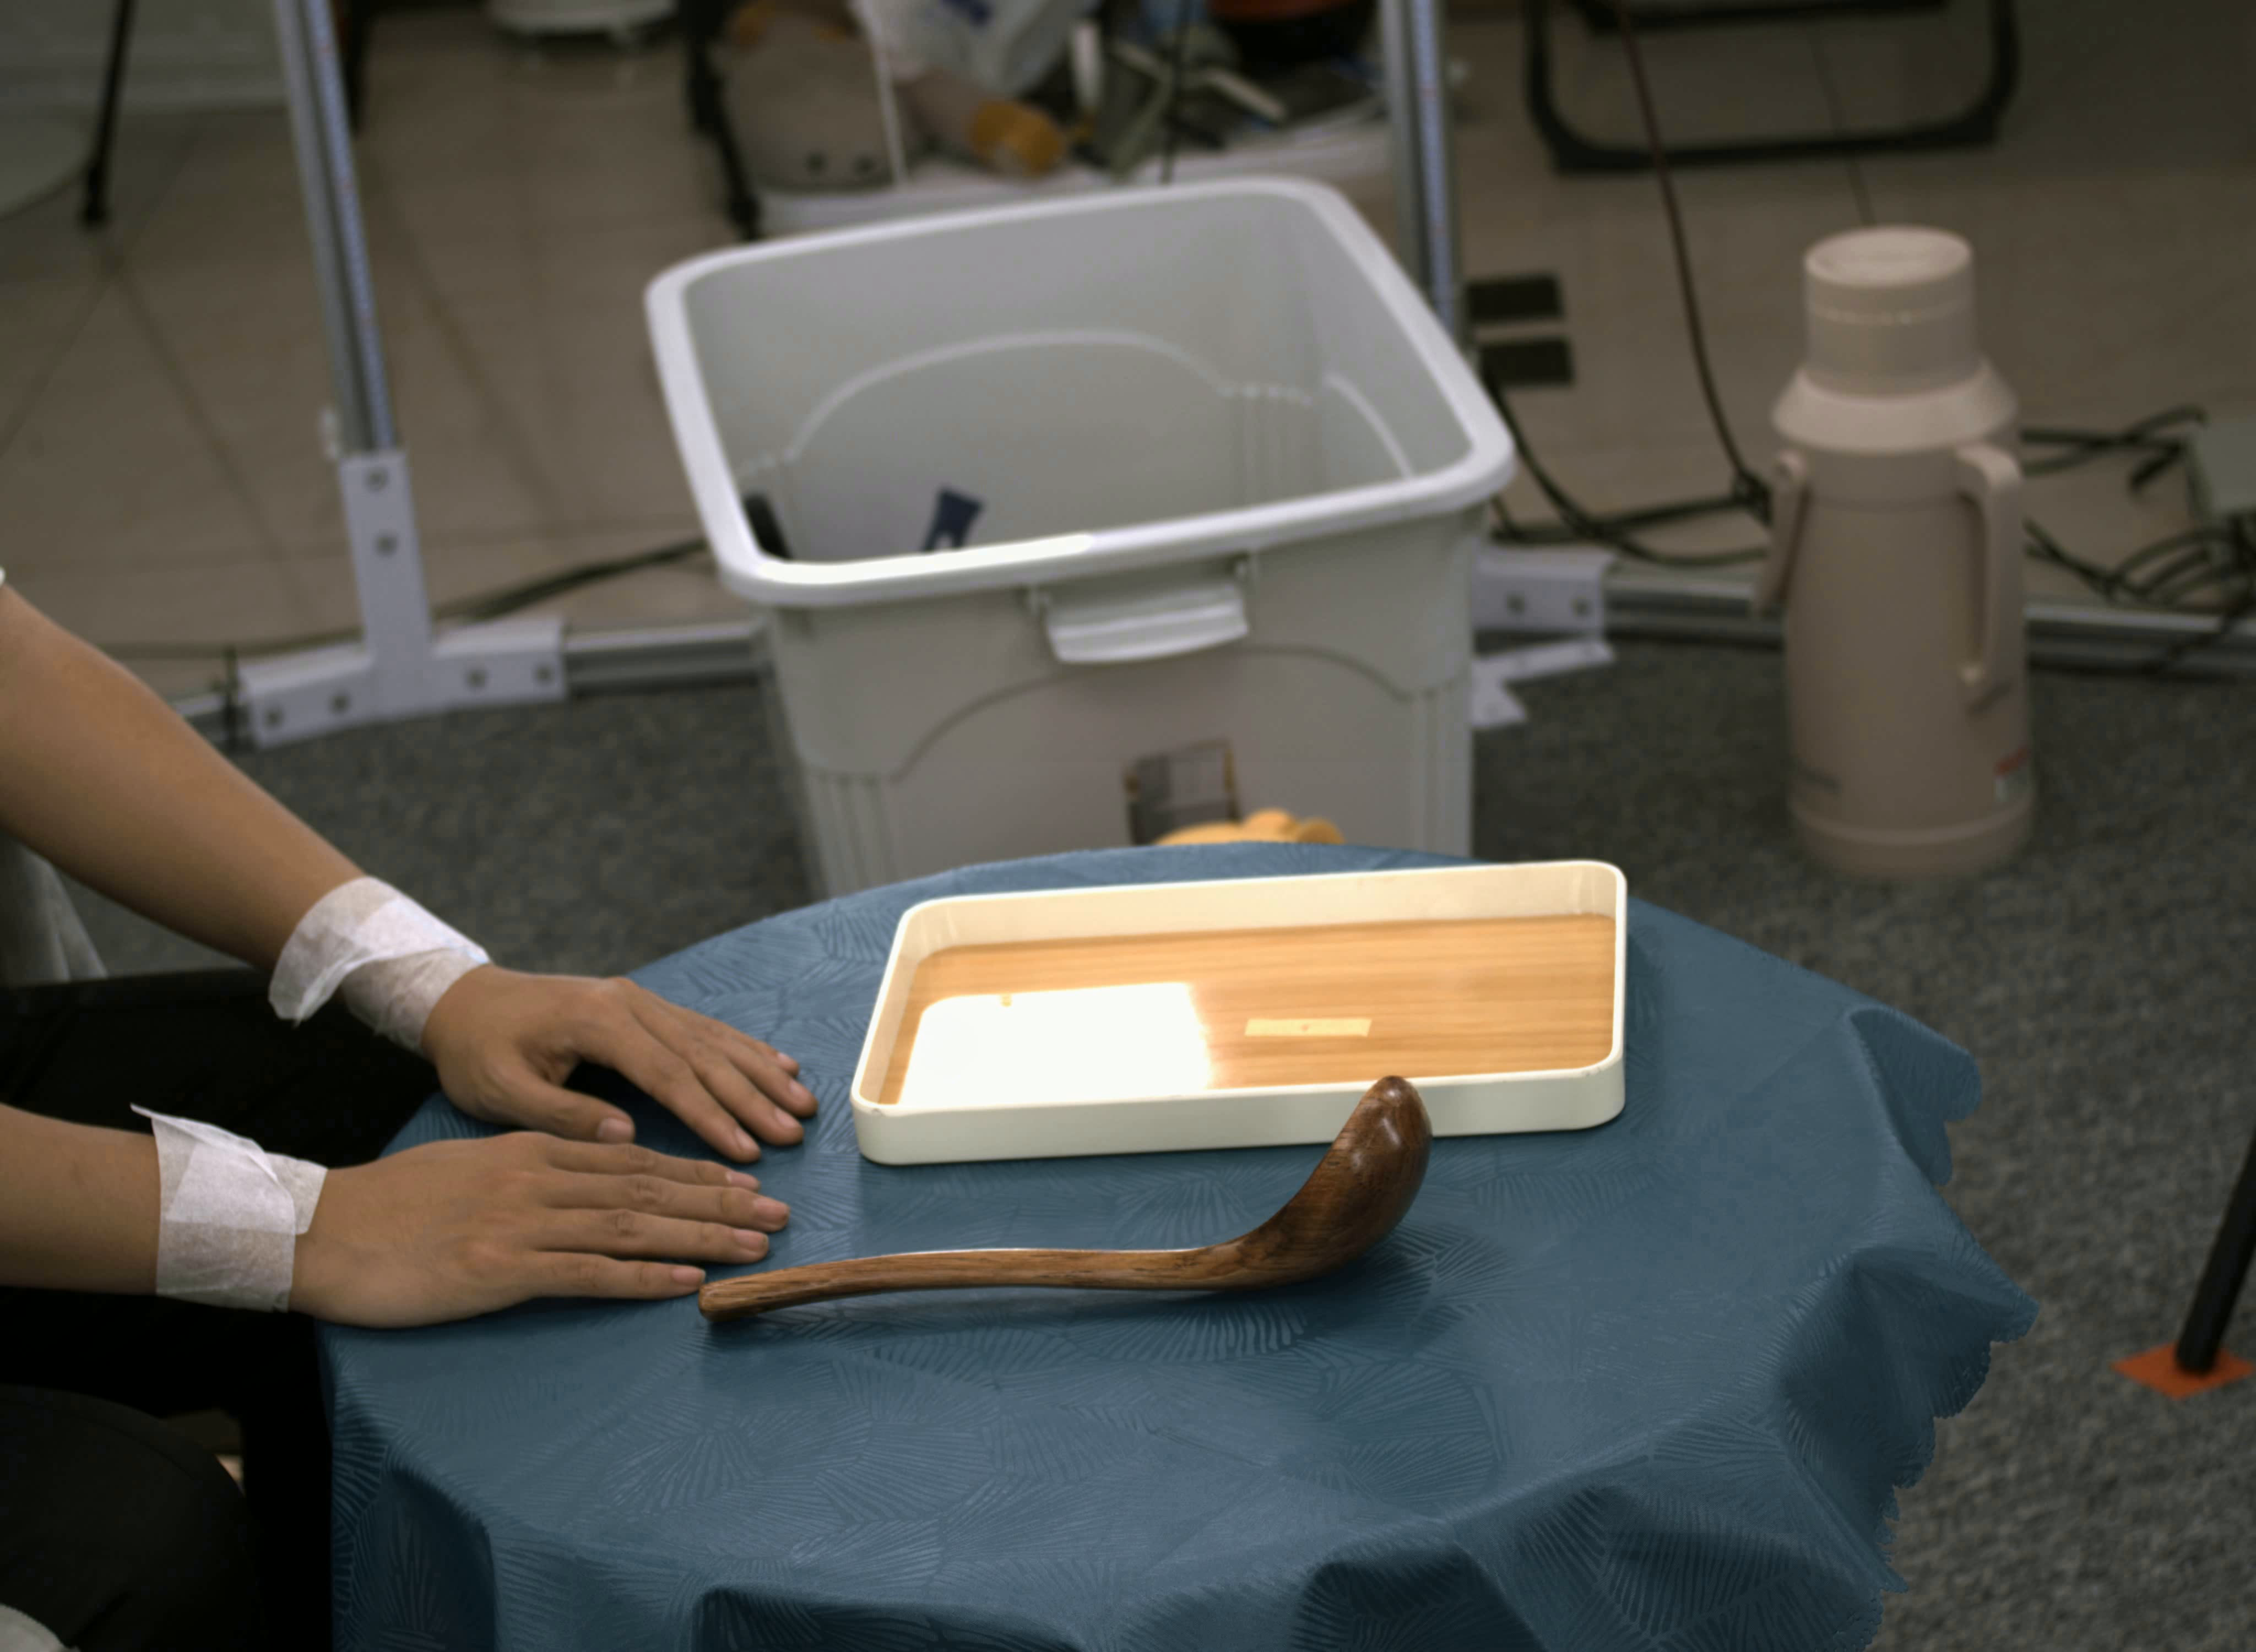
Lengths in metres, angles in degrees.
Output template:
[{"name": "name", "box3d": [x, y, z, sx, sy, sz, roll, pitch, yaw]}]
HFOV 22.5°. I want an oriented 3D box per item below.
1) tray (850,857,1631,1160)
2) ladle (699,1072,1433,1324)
[{"name": "tray", "box3d": [0.048, 0.071, 2.251, 0.300, 0.028, 0.189, -3, 25, 8]}, {"name": "ladle", "box3d": [-0.024, 0.136, 2.079, 0.273, 0.076, 0.082, -4, -13, 8]}]
